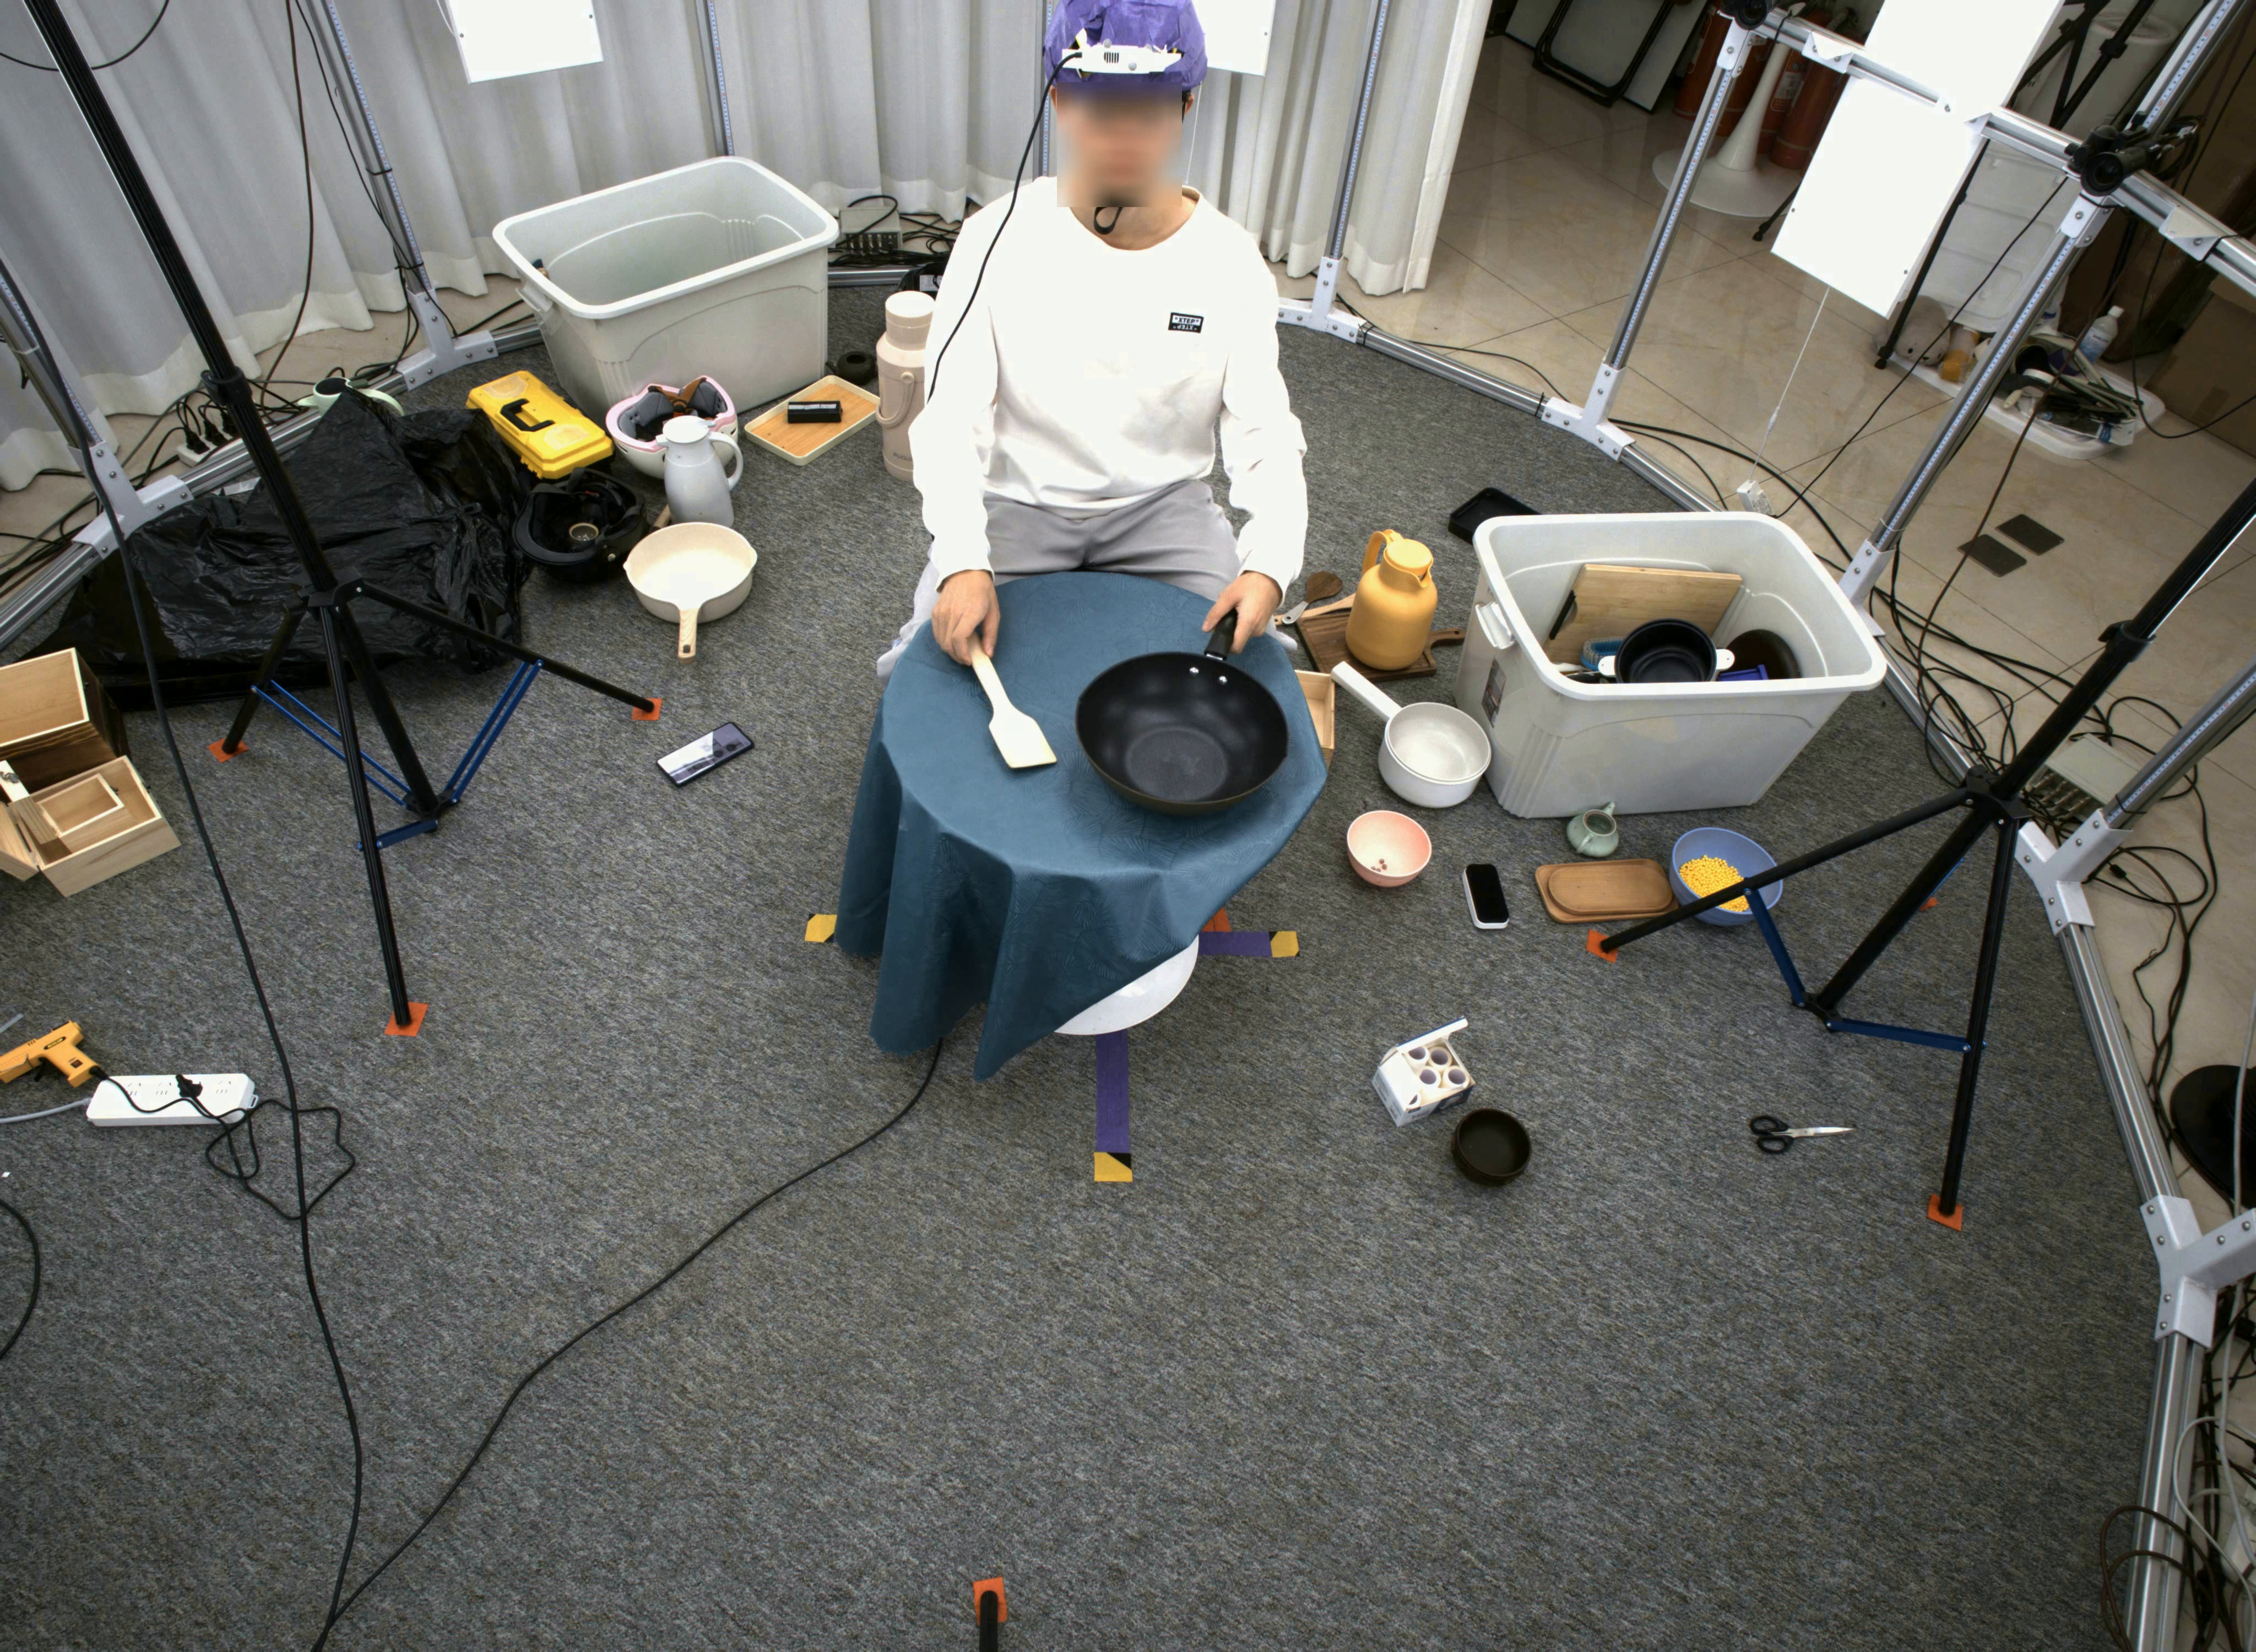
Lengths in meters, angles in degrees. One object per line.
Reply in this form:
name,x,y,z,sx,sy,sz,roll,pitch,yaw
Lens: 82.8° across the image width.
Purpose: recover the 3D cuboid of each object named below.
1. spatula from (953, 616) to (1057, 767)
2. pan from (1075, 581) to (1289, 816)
spatula,-0.186,-0.192,1.797,0.072,0.010,0.299,-11,54,-25
pan,0.099,-0.174,1.769,0.289,0.085,0.473,17,50,10
